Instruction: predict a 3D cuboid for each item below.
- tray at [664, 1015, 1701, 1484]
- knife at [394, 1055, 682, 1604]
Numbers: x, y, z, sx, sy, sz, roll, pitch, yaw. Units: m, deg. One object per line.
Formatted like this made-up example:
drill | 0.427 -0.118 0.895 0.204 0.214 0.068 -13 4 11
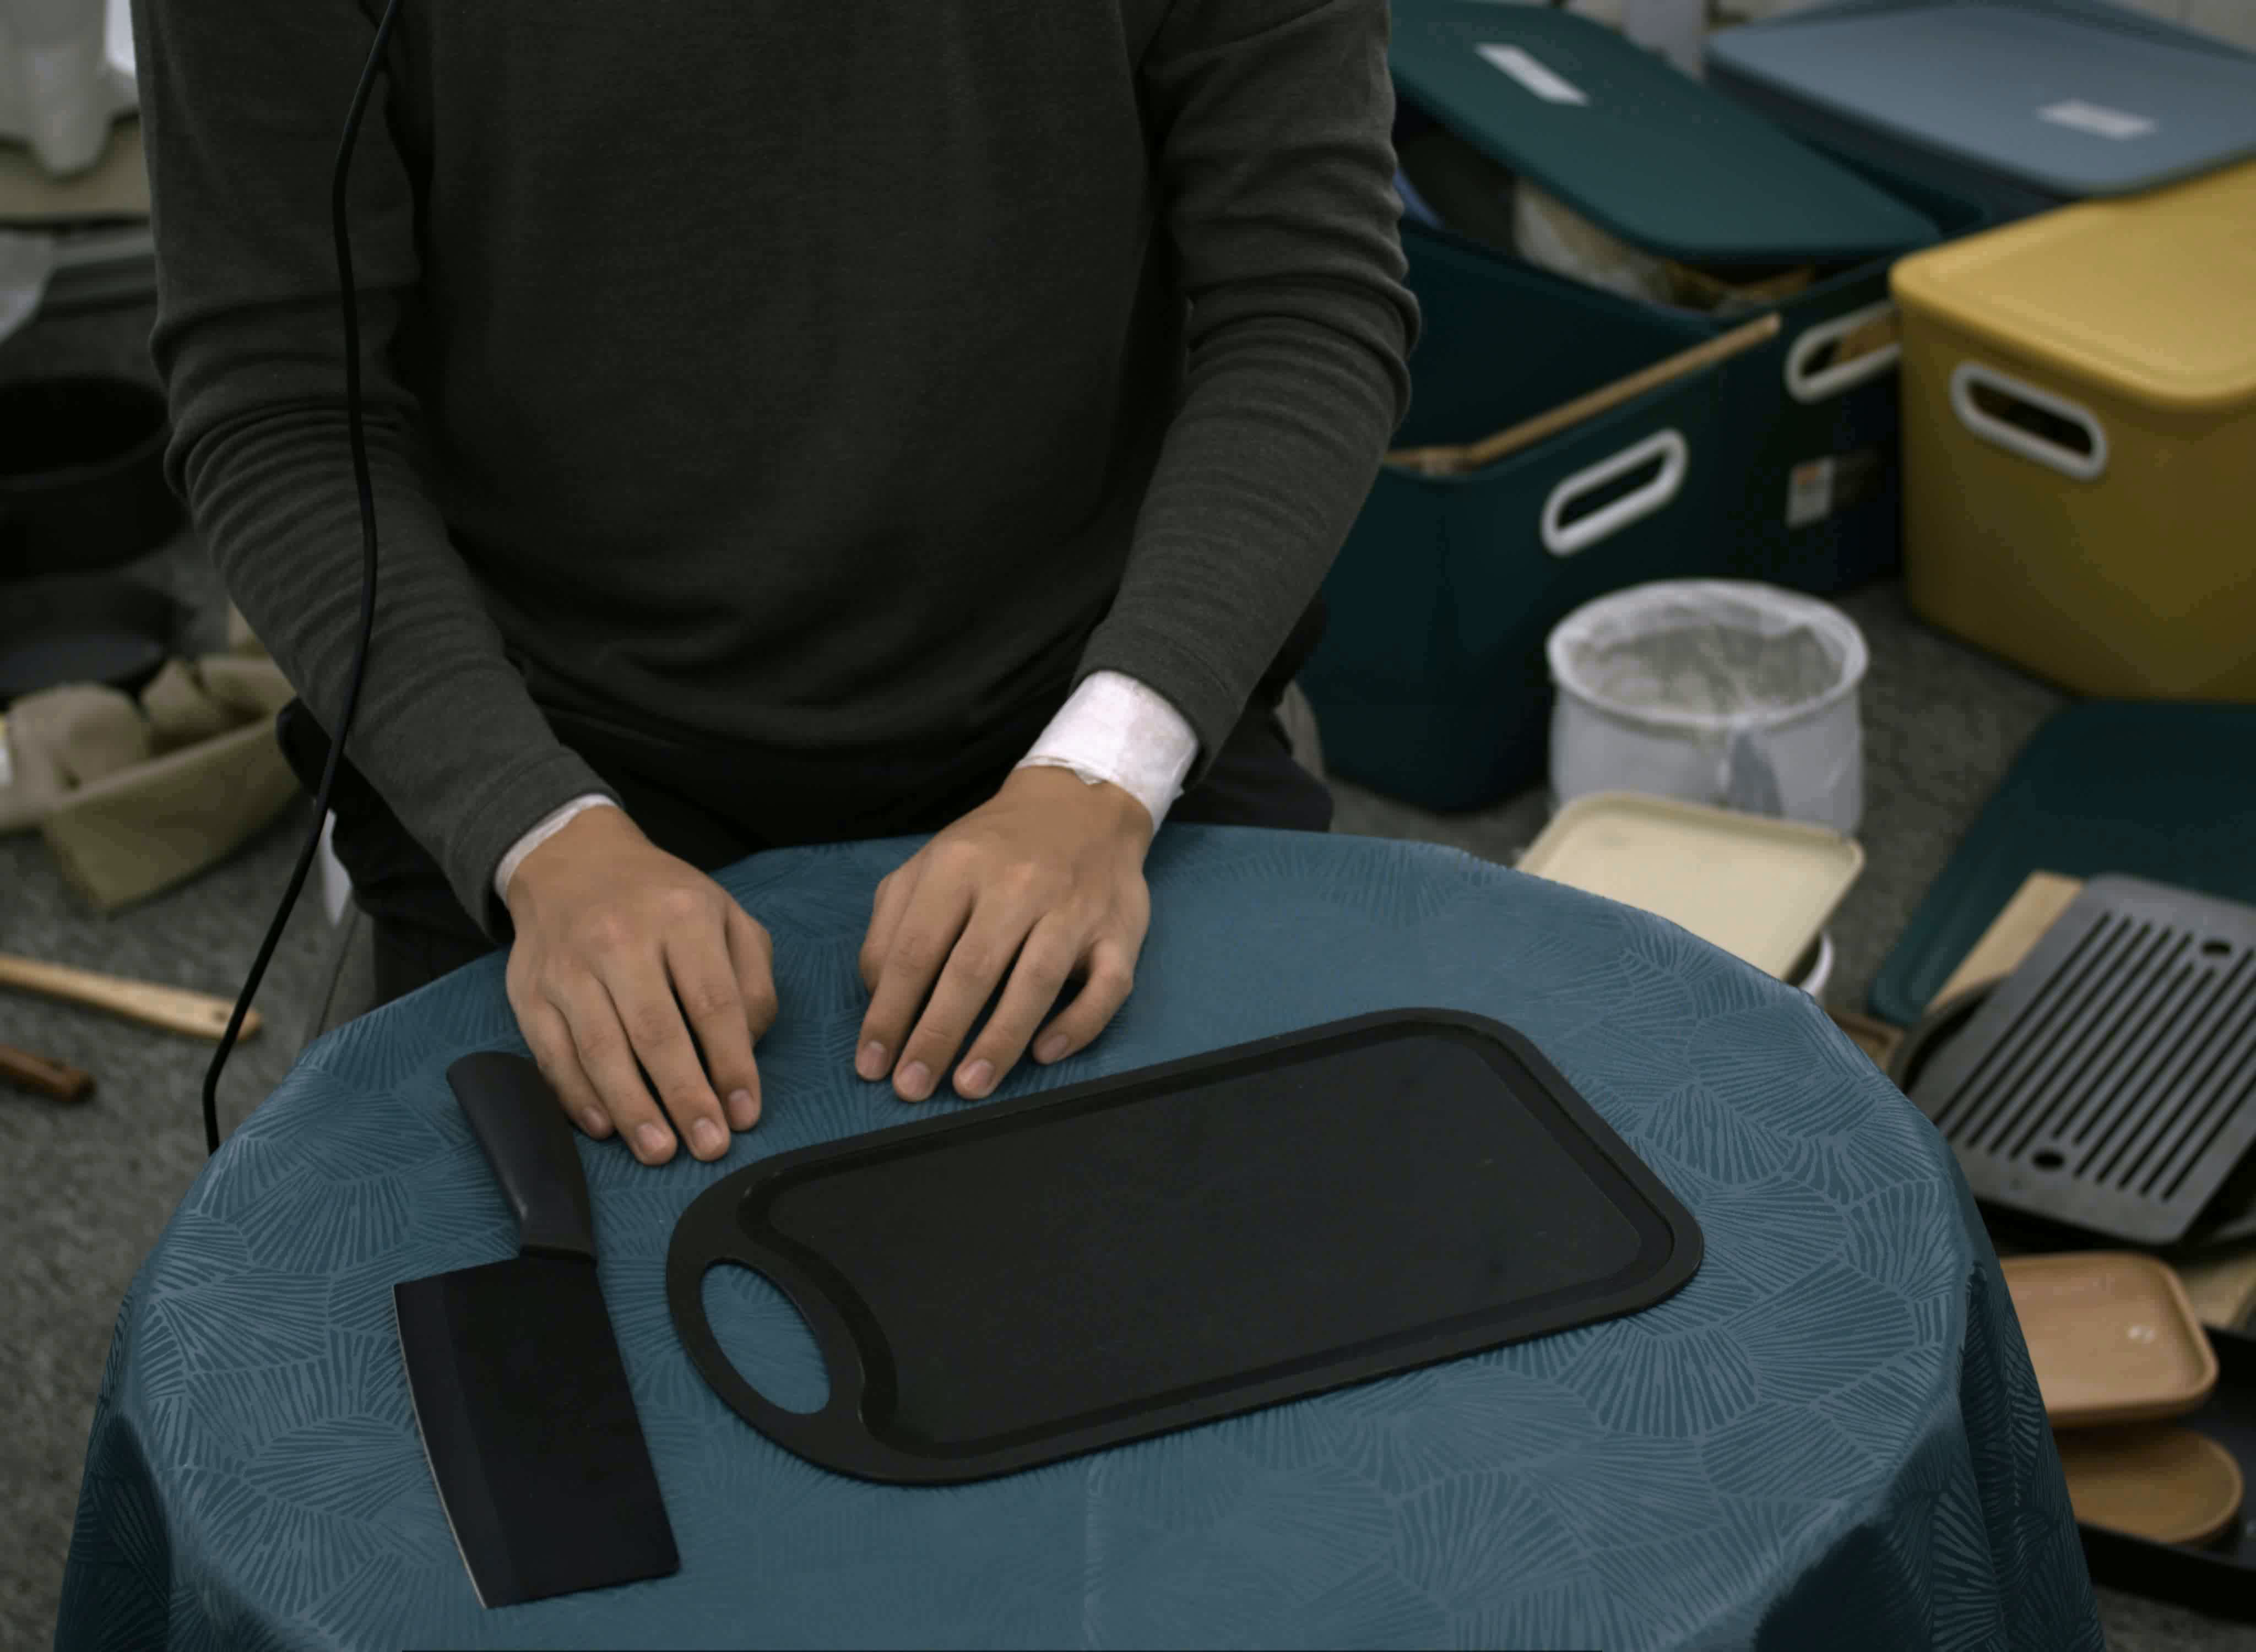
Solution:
tray | 0.011 0.134 1.829 0.326 0.009 0.213 -12 28 -17
knife | -0.196 0.157 1.797 0.081 0.020 0.306 -8 29 -7
